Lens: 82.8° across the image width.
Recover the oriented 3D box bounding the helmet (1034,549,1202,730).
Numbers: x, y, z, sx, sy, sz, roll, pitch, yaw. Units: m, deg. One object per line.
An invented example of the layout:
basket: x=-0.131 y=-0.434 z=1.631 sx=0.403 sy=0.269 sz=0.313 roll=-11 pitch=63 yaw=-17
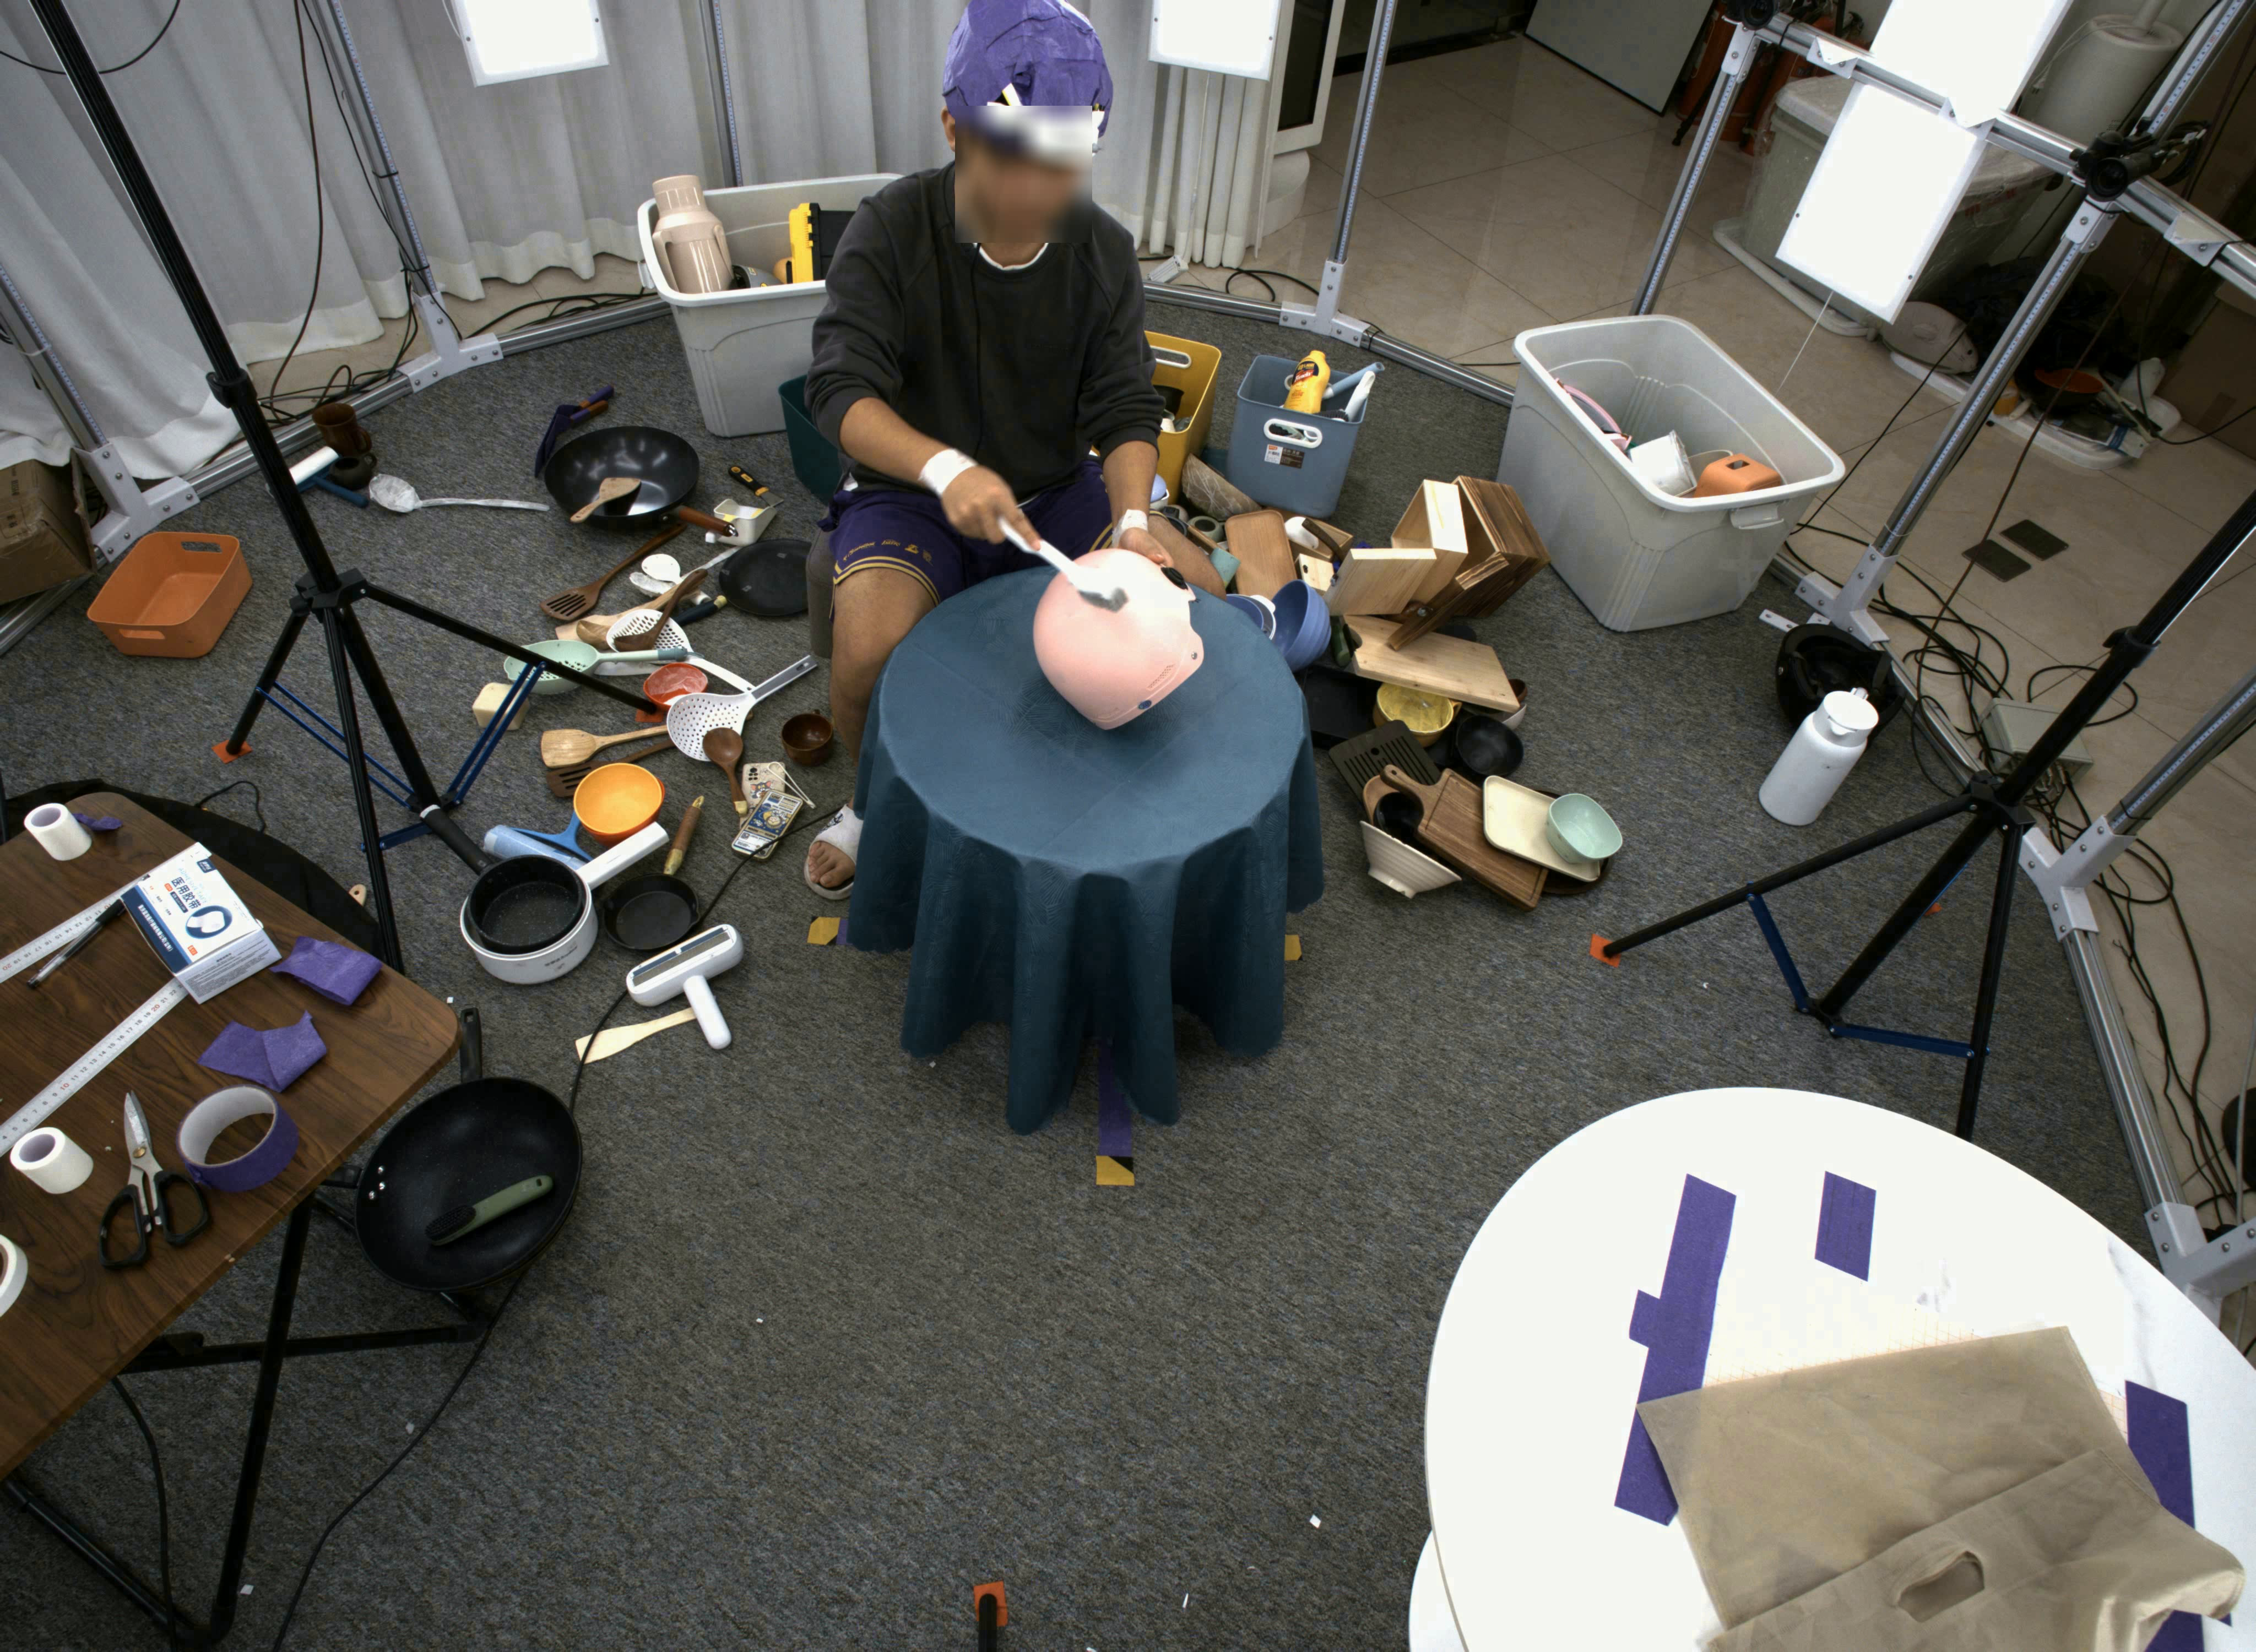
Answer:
helmet: x=-0.035 y=-0.276 z=1.742 sx=0.232 sy=0.156 sz=0.272 roll=-33 pitch=51 yaw=22

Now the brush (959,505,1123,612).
brush: x=-0.111 y=-0.333 z=1.611 sx=0.246 sy=0.049 sz=0.035 roll=31 pitch=64 yaw=20
